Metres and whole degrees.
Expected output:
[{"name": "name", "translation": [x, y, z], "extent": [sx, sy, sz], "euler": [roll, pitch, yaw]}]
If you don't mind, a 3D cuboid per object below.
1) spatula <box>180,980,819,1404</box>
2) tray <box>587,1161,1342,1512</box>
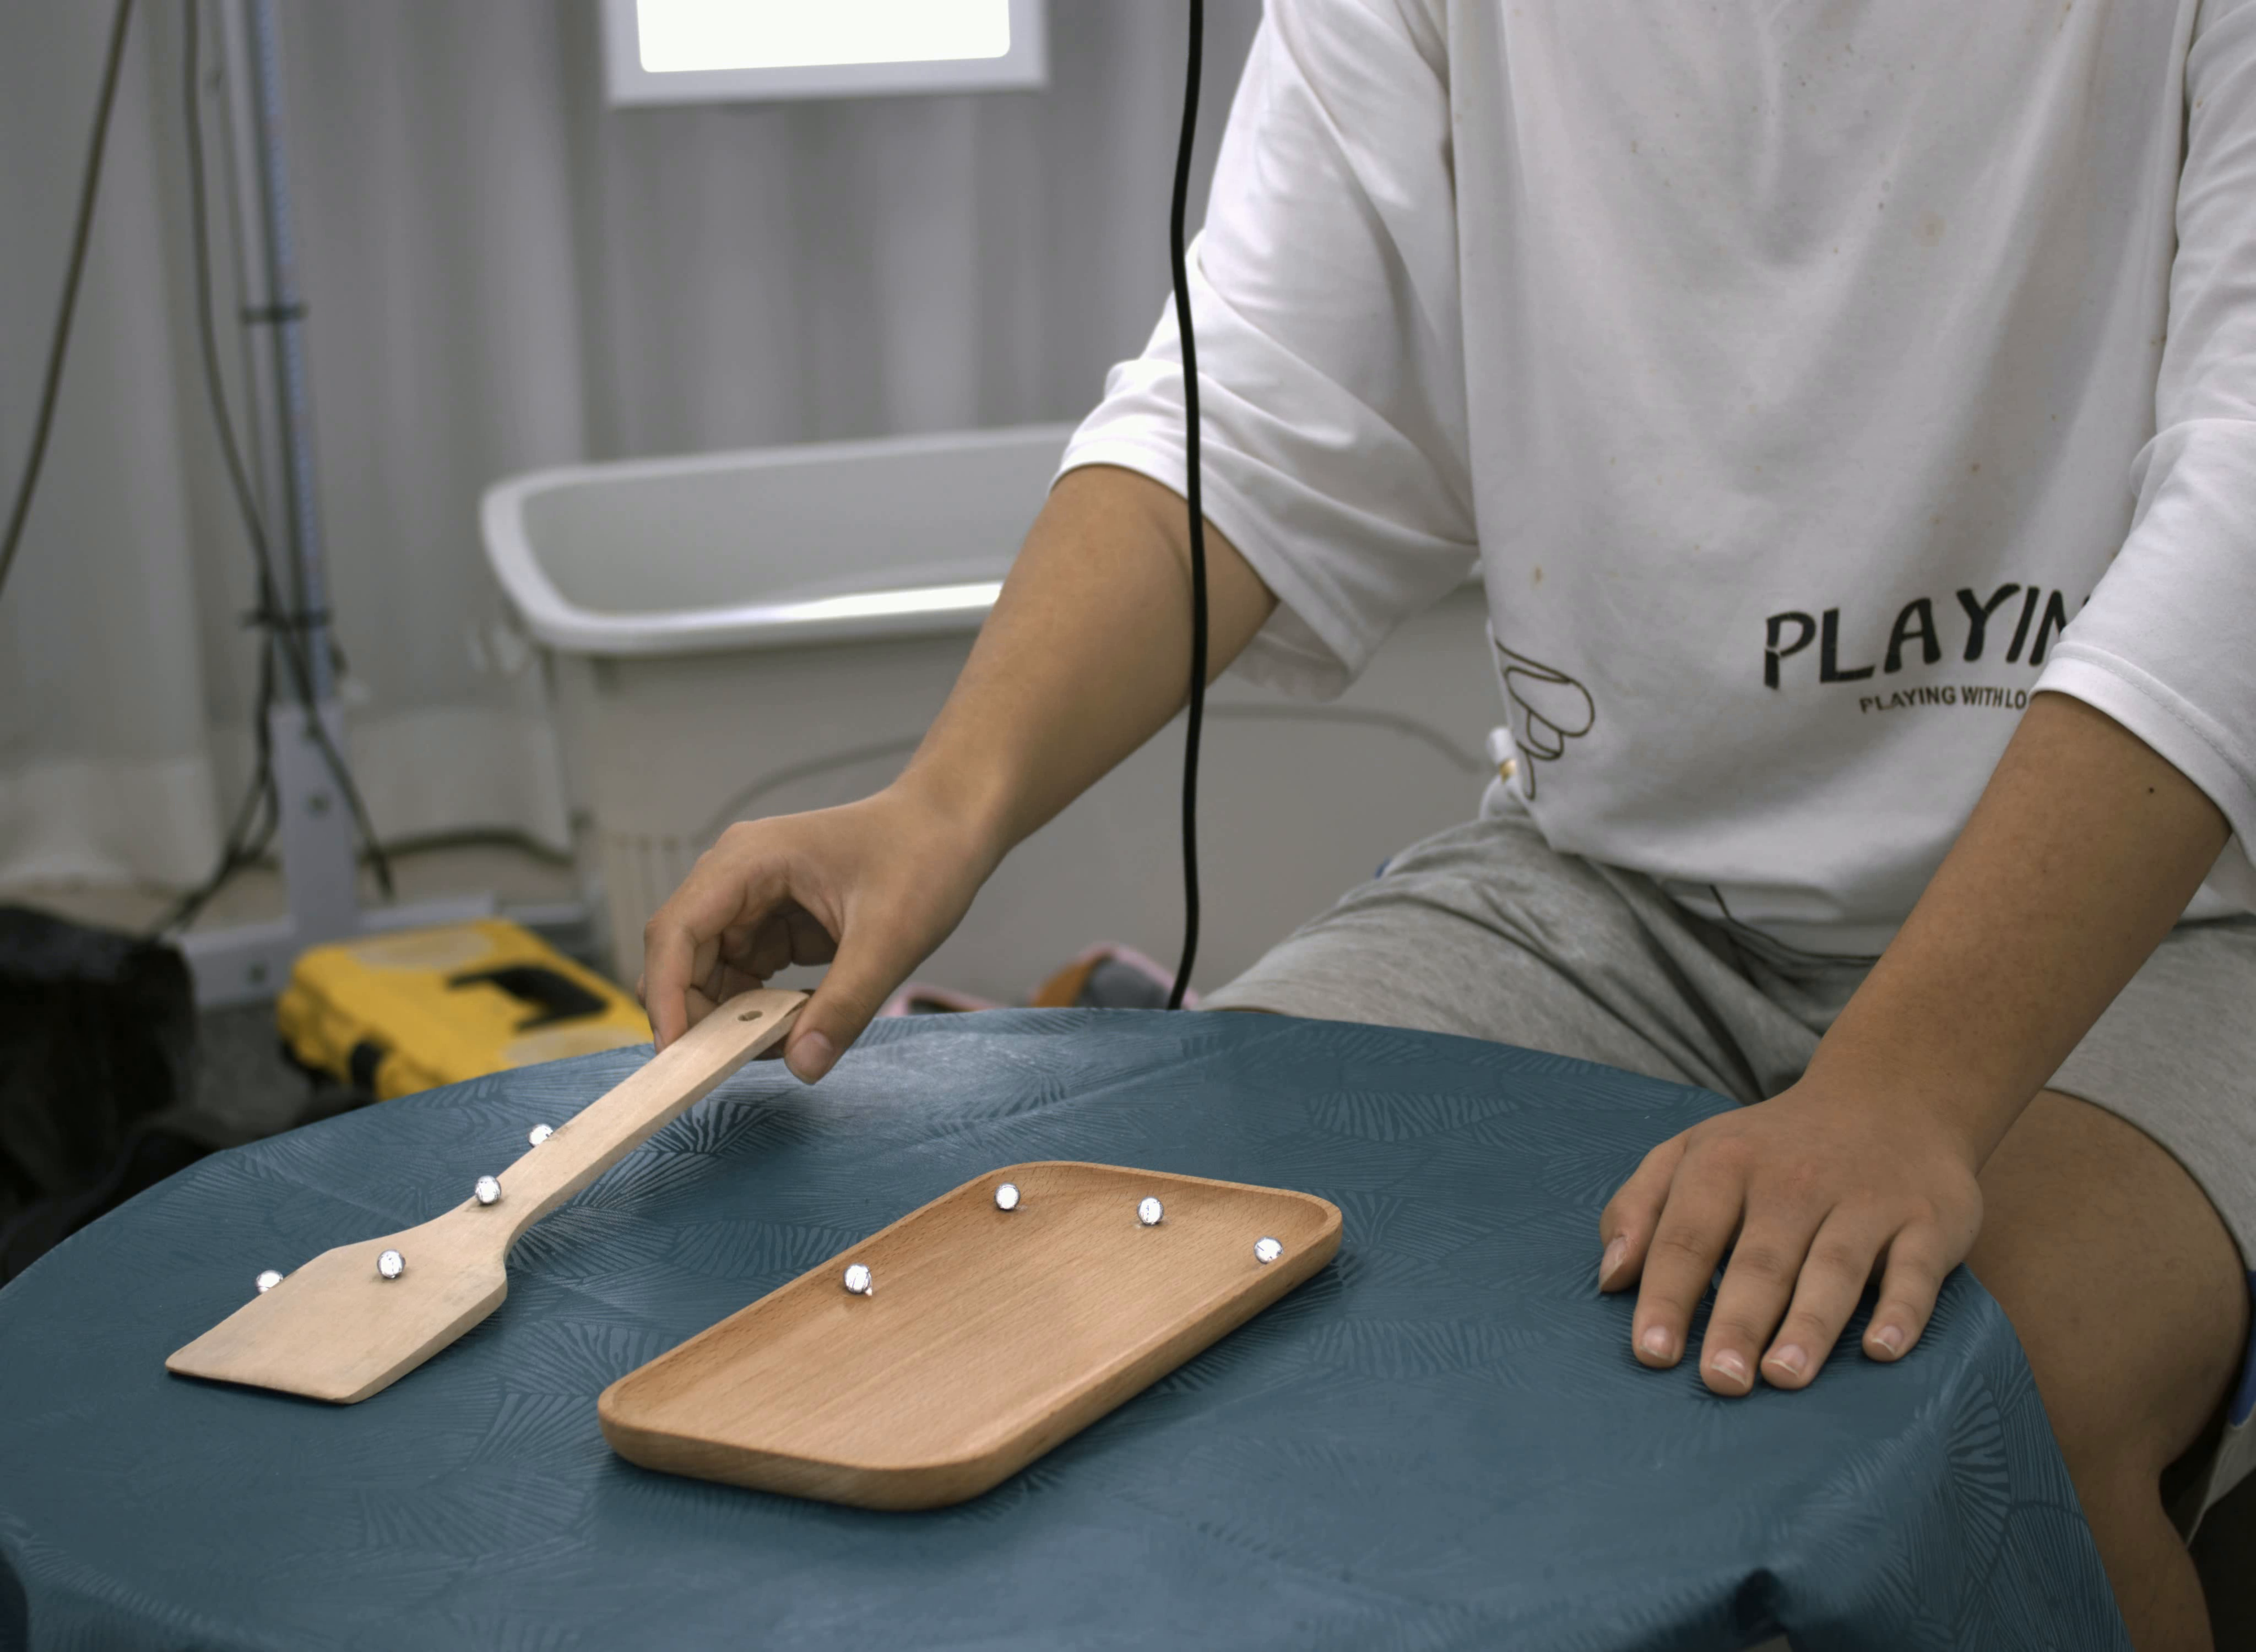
[{"name": "spatula", "translation": [-0.181, 0.109, 1.696], "extent": [0.072, 0.010, 0.294], "euler": [6, 25, 29]}, {"name": "tray", "translation": [-0.043, 0.145, 1.581], "extent": [0.131, 0.023, 0.251], "euler": [4, 16, 31]}]
